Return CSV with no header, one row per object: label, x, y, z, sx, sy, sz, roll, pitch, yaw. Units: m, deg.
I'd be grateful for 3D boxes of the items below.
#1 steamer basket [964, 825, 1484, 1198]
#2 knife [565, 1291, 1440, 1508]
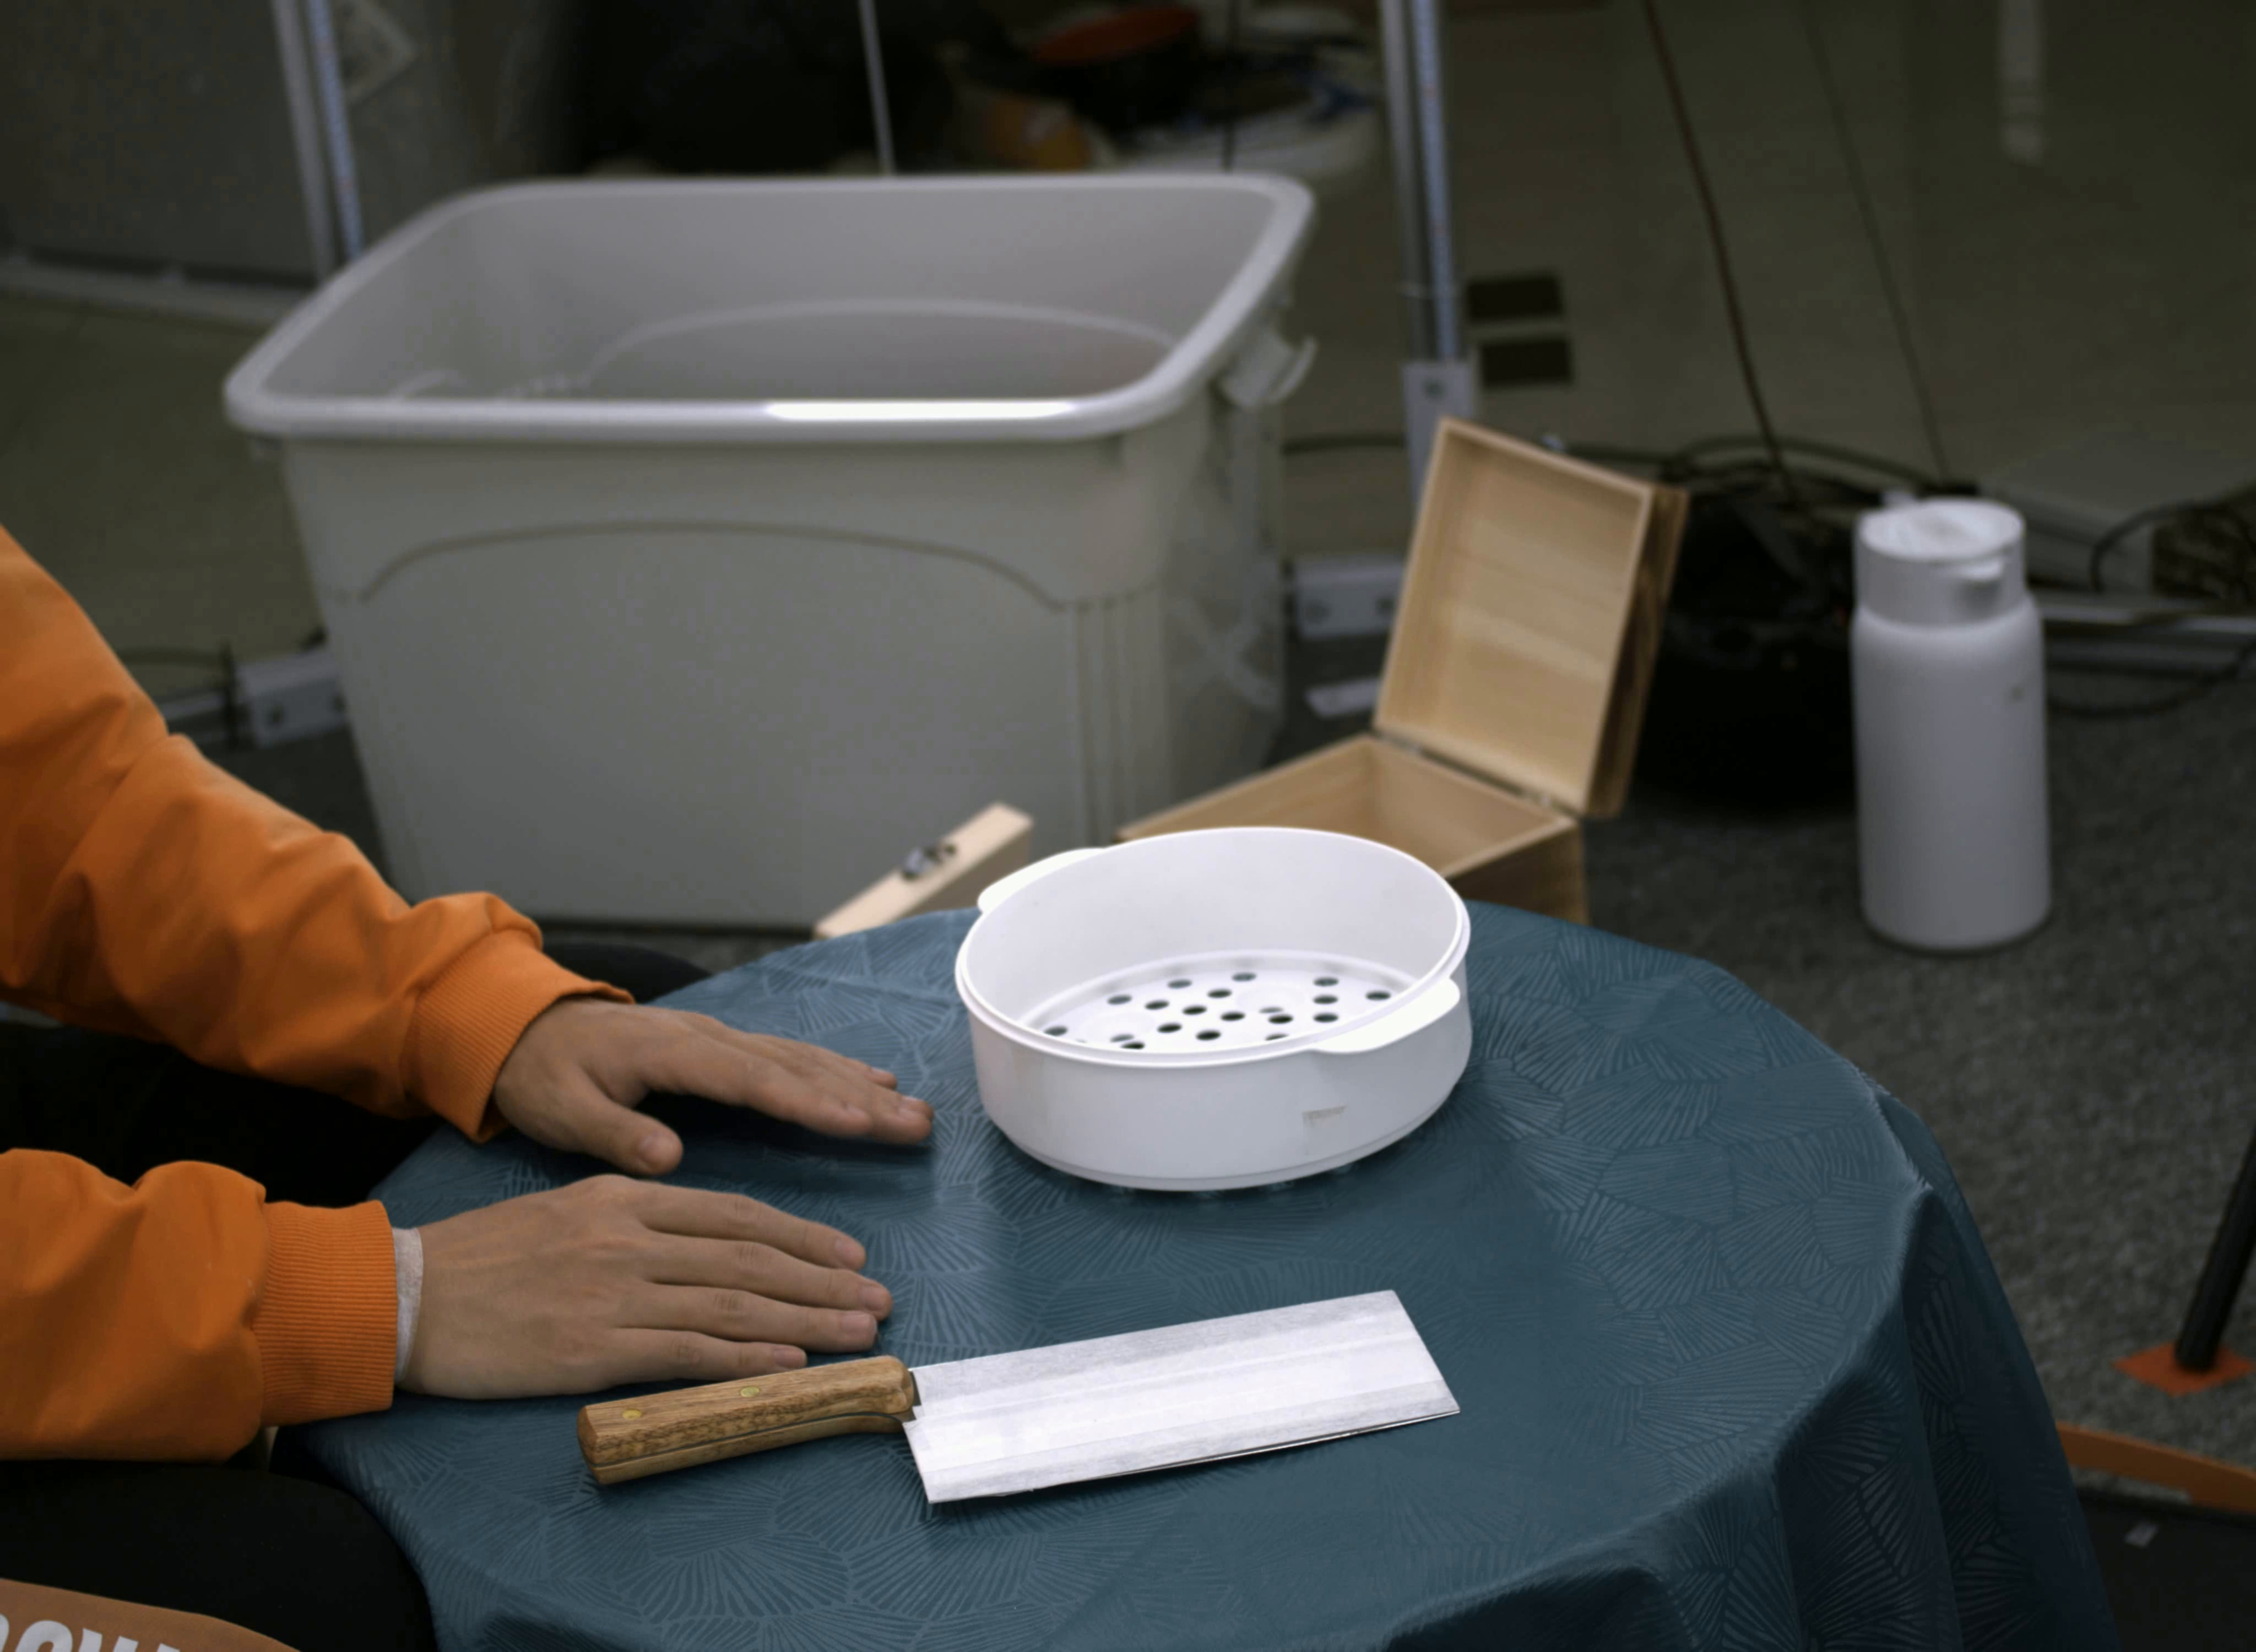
steamer basket,0.039,0.072,2.197,0.200,0.070,0.228,-26,33,-35
knife,-0.042,0.208,1.992,0.305,0.021,0.091,-9,27,-10
